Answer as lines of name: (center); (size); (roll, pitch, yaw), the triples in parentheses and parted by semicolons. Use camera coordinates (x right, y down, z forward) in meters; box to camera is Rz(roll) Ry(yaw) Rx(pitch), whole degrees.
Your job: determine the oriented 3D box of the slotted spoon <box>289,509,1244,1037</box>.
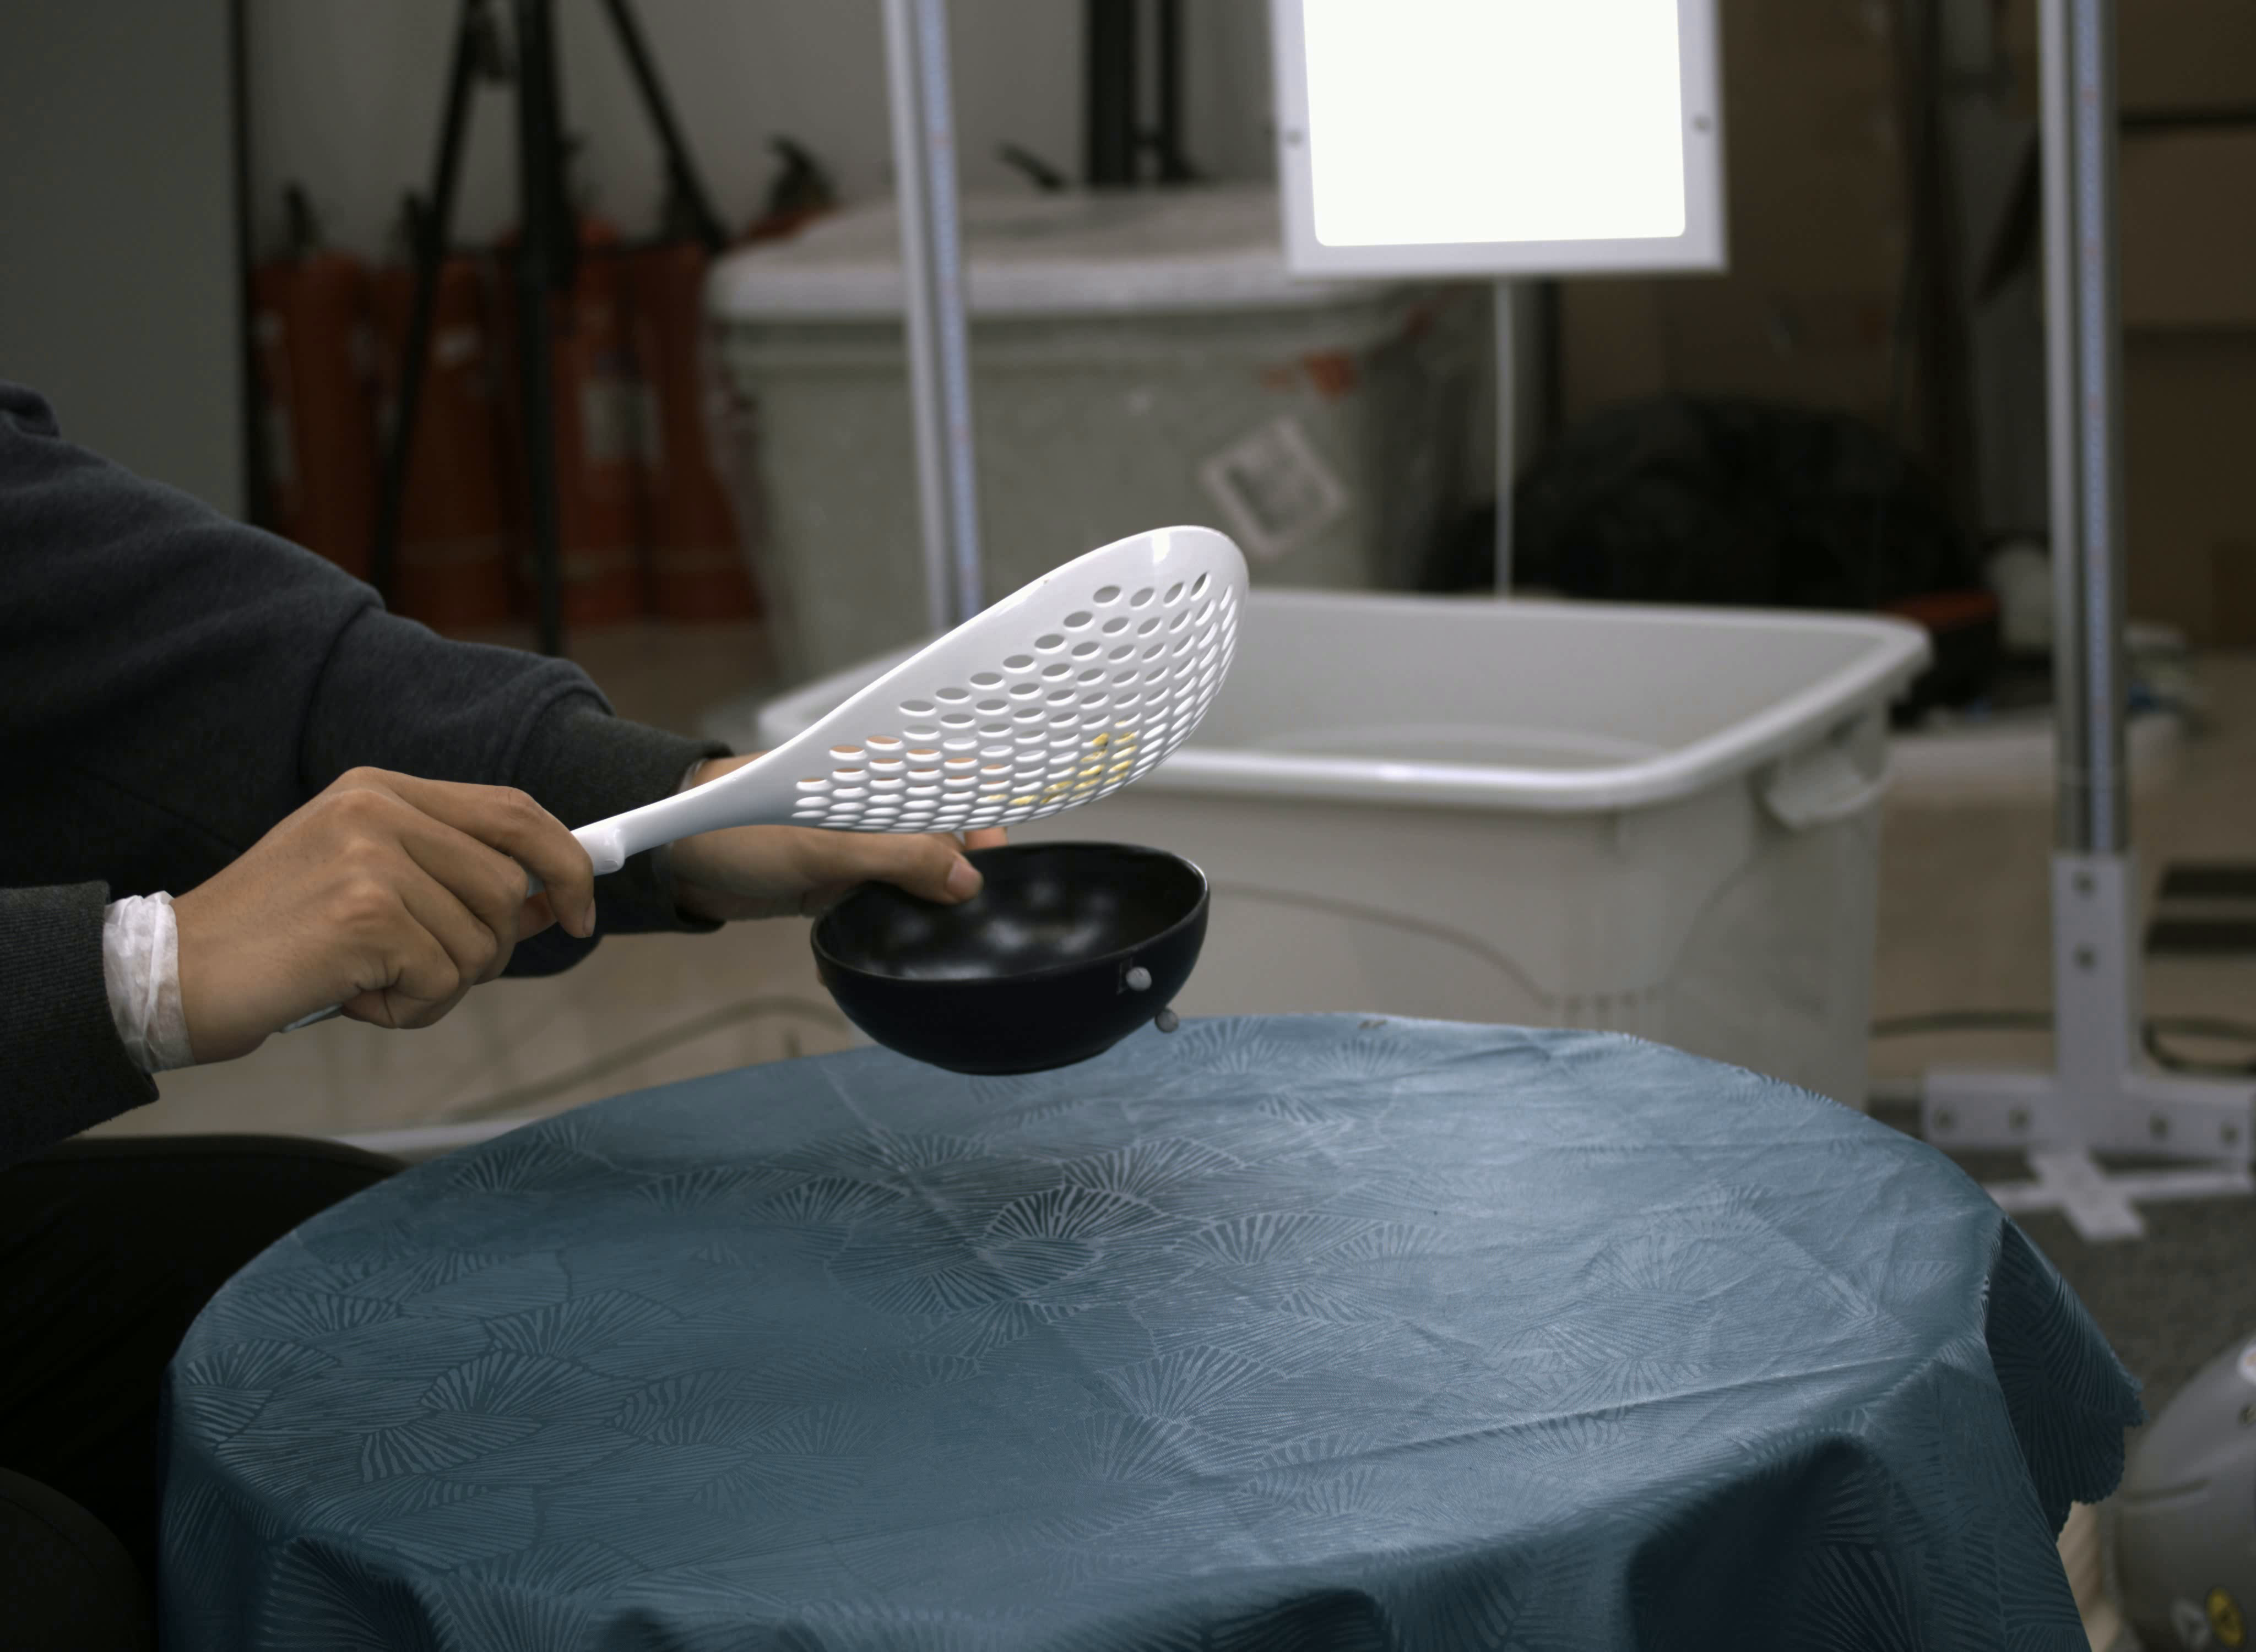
slotted spoon: (-0.108, -0.005, 1.712); (0.342, 0.050, 0.138); (-18, -25, -20)
